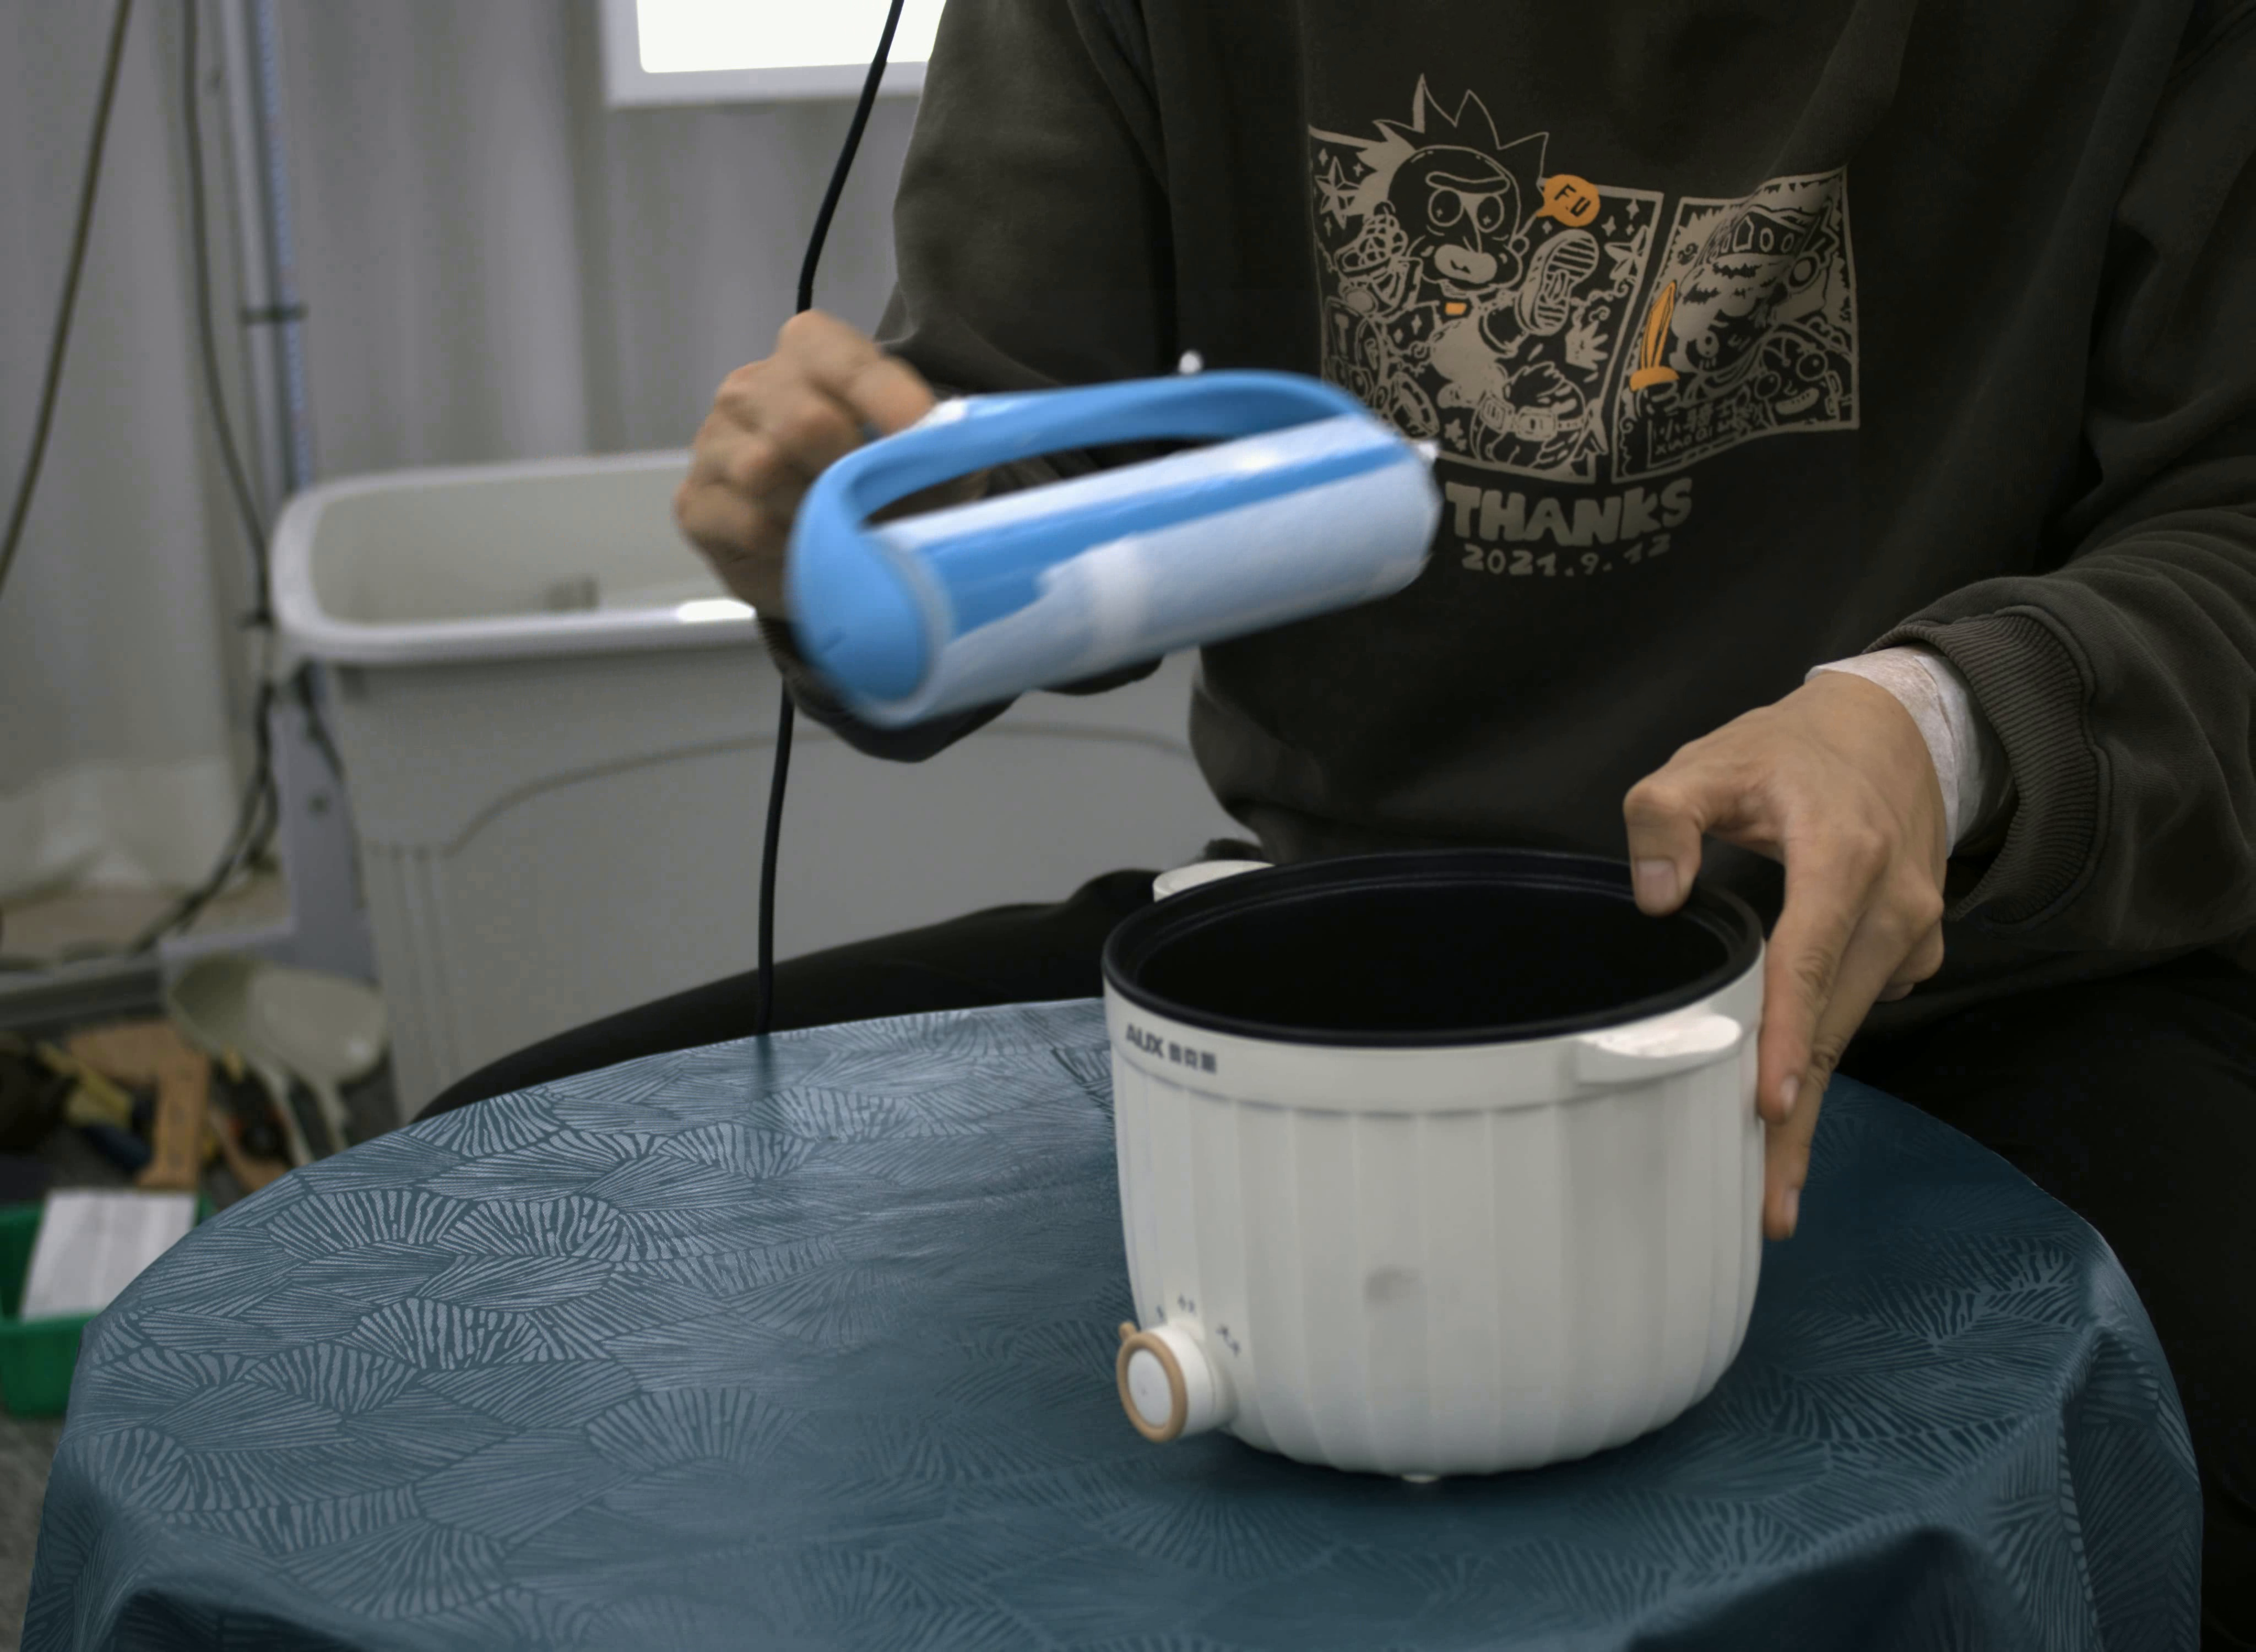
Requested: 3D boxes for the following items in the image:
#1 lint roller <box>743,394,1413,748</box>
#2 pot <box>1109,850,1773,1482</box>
[{"bbox_3d":[-0.048,-0.085,1.572,0.181,0.067,0.228,21,28,39],"label":"lint roller"},{"bbox_3d":[0.084,0.096,1.510,0.189,0.142,0.242,-9,14,-34],"label":"pot"}]
